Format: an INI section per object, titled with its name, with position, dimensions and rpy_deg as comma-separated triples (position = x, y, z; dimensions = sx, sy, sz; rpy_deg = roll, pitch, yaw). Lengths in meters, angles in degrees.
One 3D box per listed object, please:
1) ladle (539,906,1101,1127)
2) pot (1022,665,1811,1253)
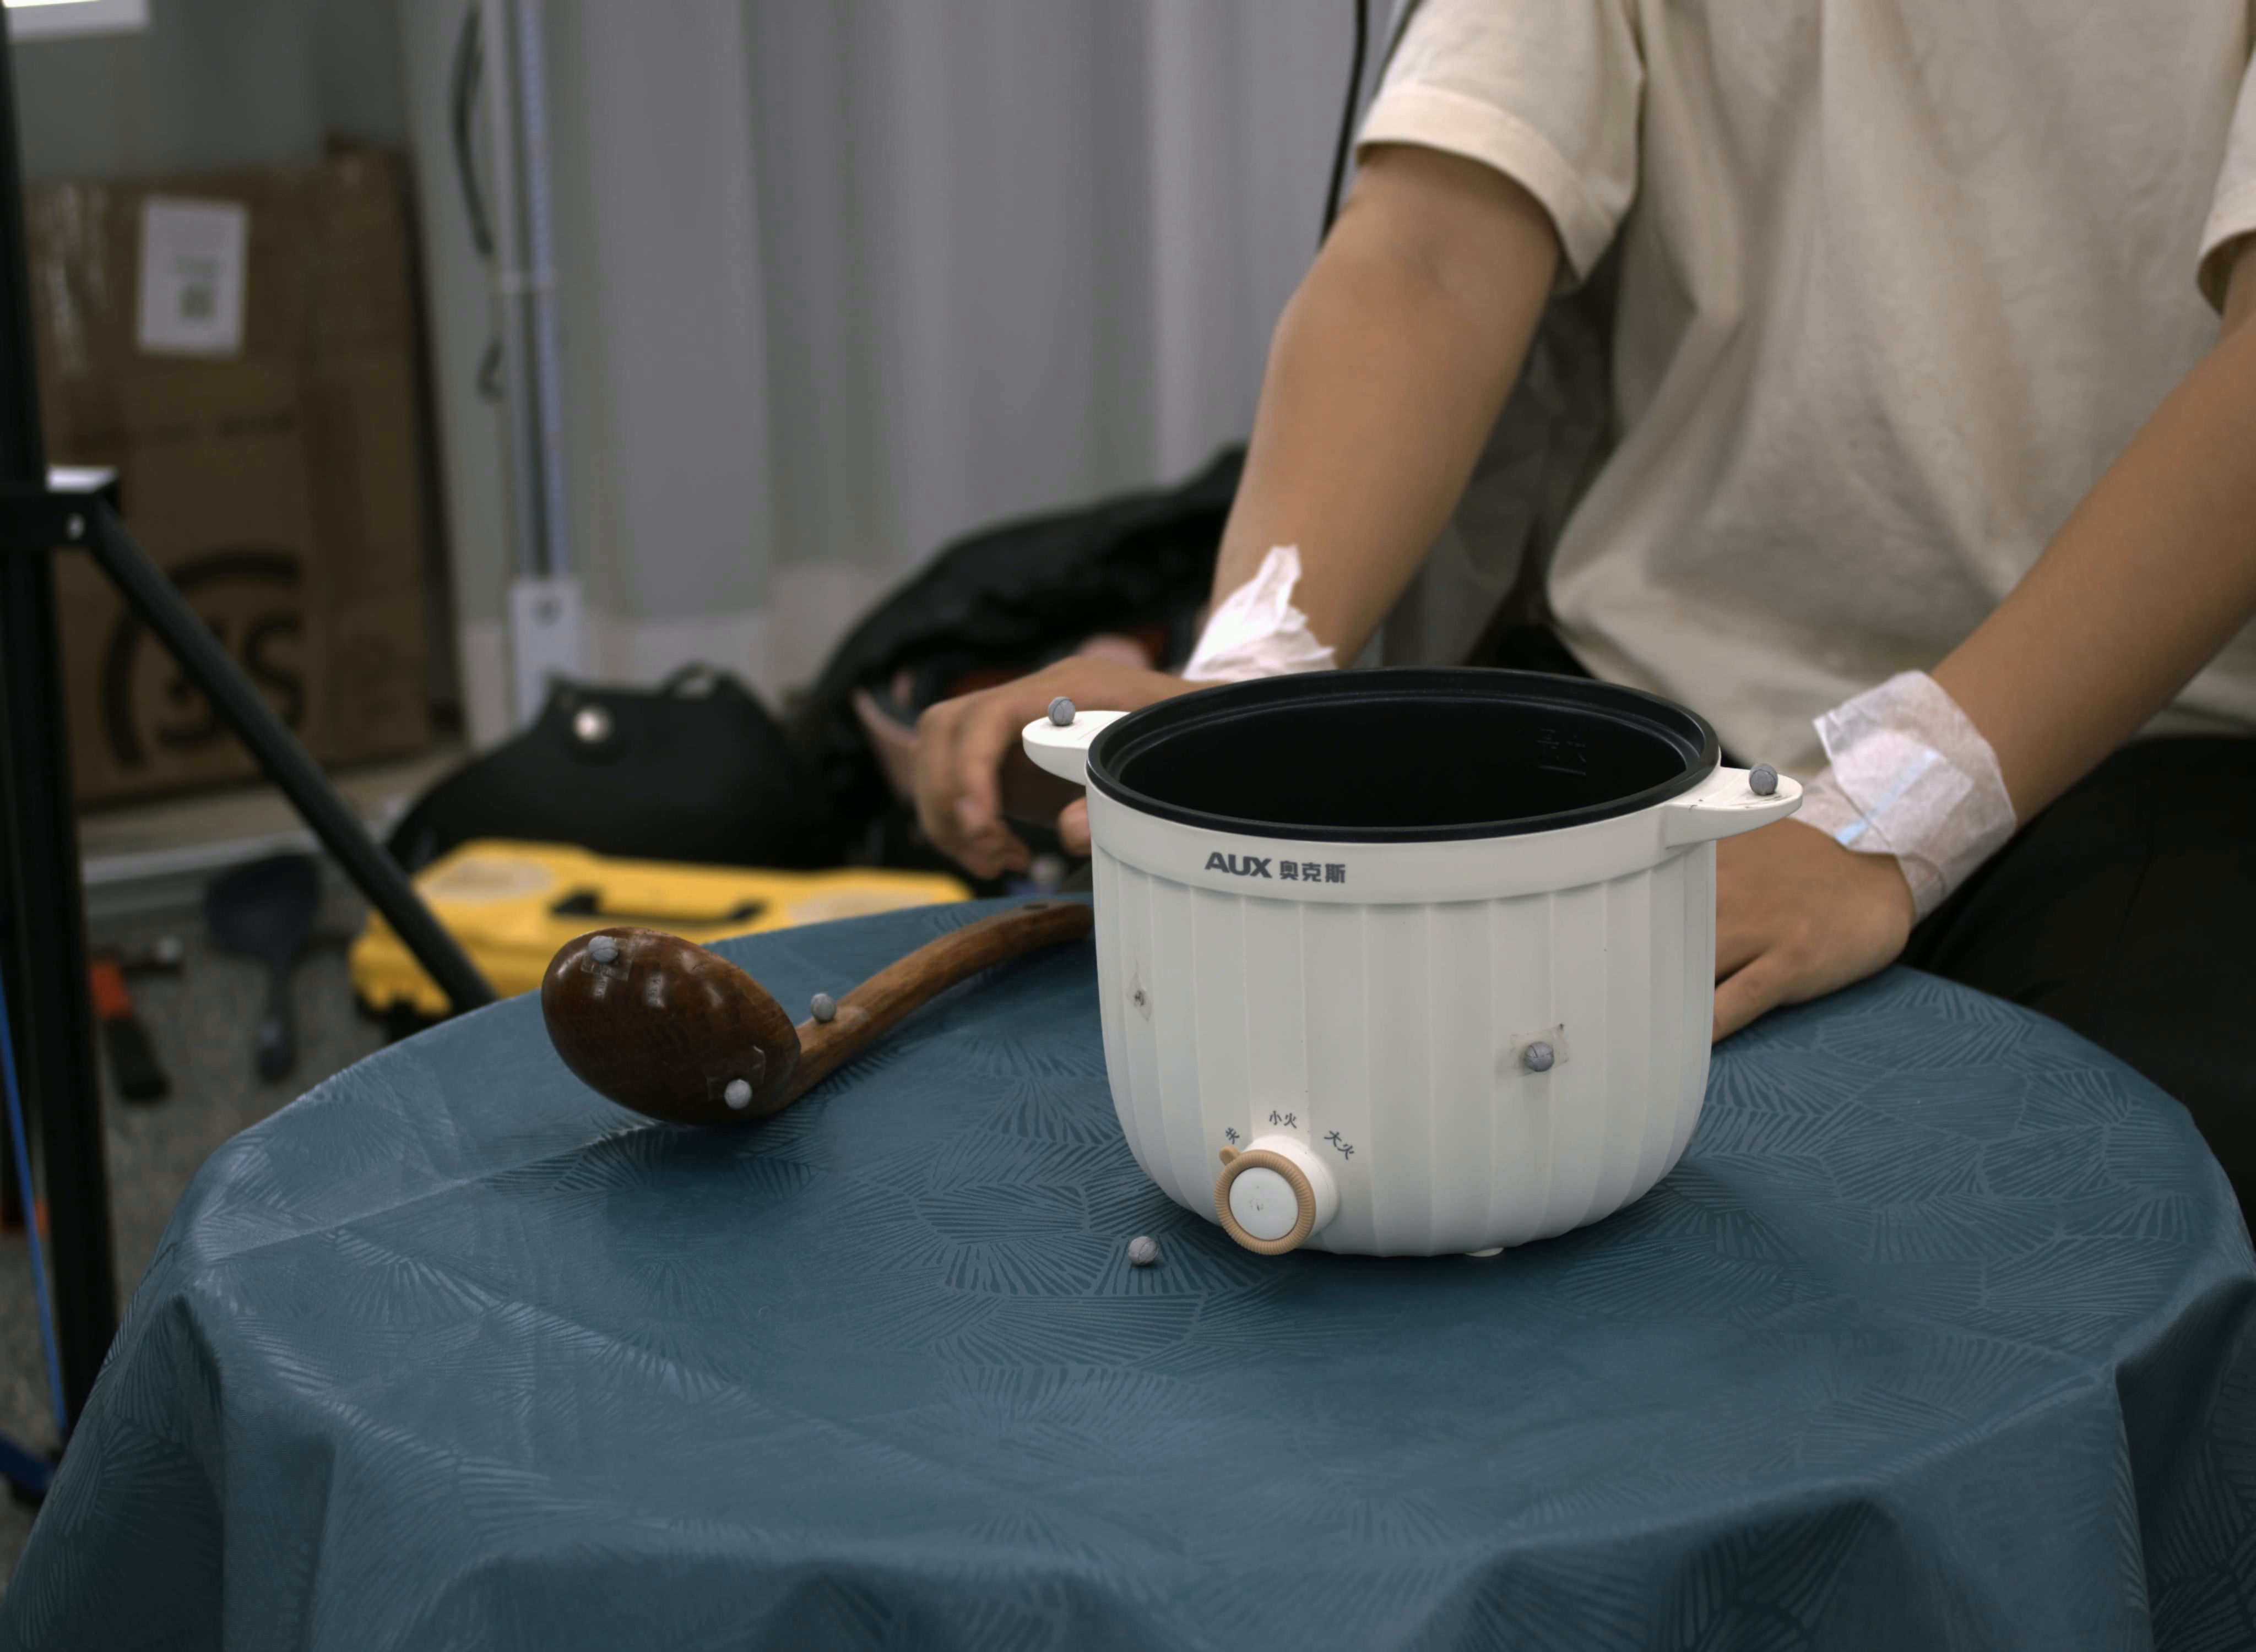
[ladle]
position = -0.087, 0.035, 1.691
dimensions = 0.083, 0.076, 0.269
rpy_deg = 3, 17, 31
[pot]
position = 0.079, 0.041, 1.524
dimensions = 0.244, 0.143, 0.187
rpy_deg = 4, 13, 27
